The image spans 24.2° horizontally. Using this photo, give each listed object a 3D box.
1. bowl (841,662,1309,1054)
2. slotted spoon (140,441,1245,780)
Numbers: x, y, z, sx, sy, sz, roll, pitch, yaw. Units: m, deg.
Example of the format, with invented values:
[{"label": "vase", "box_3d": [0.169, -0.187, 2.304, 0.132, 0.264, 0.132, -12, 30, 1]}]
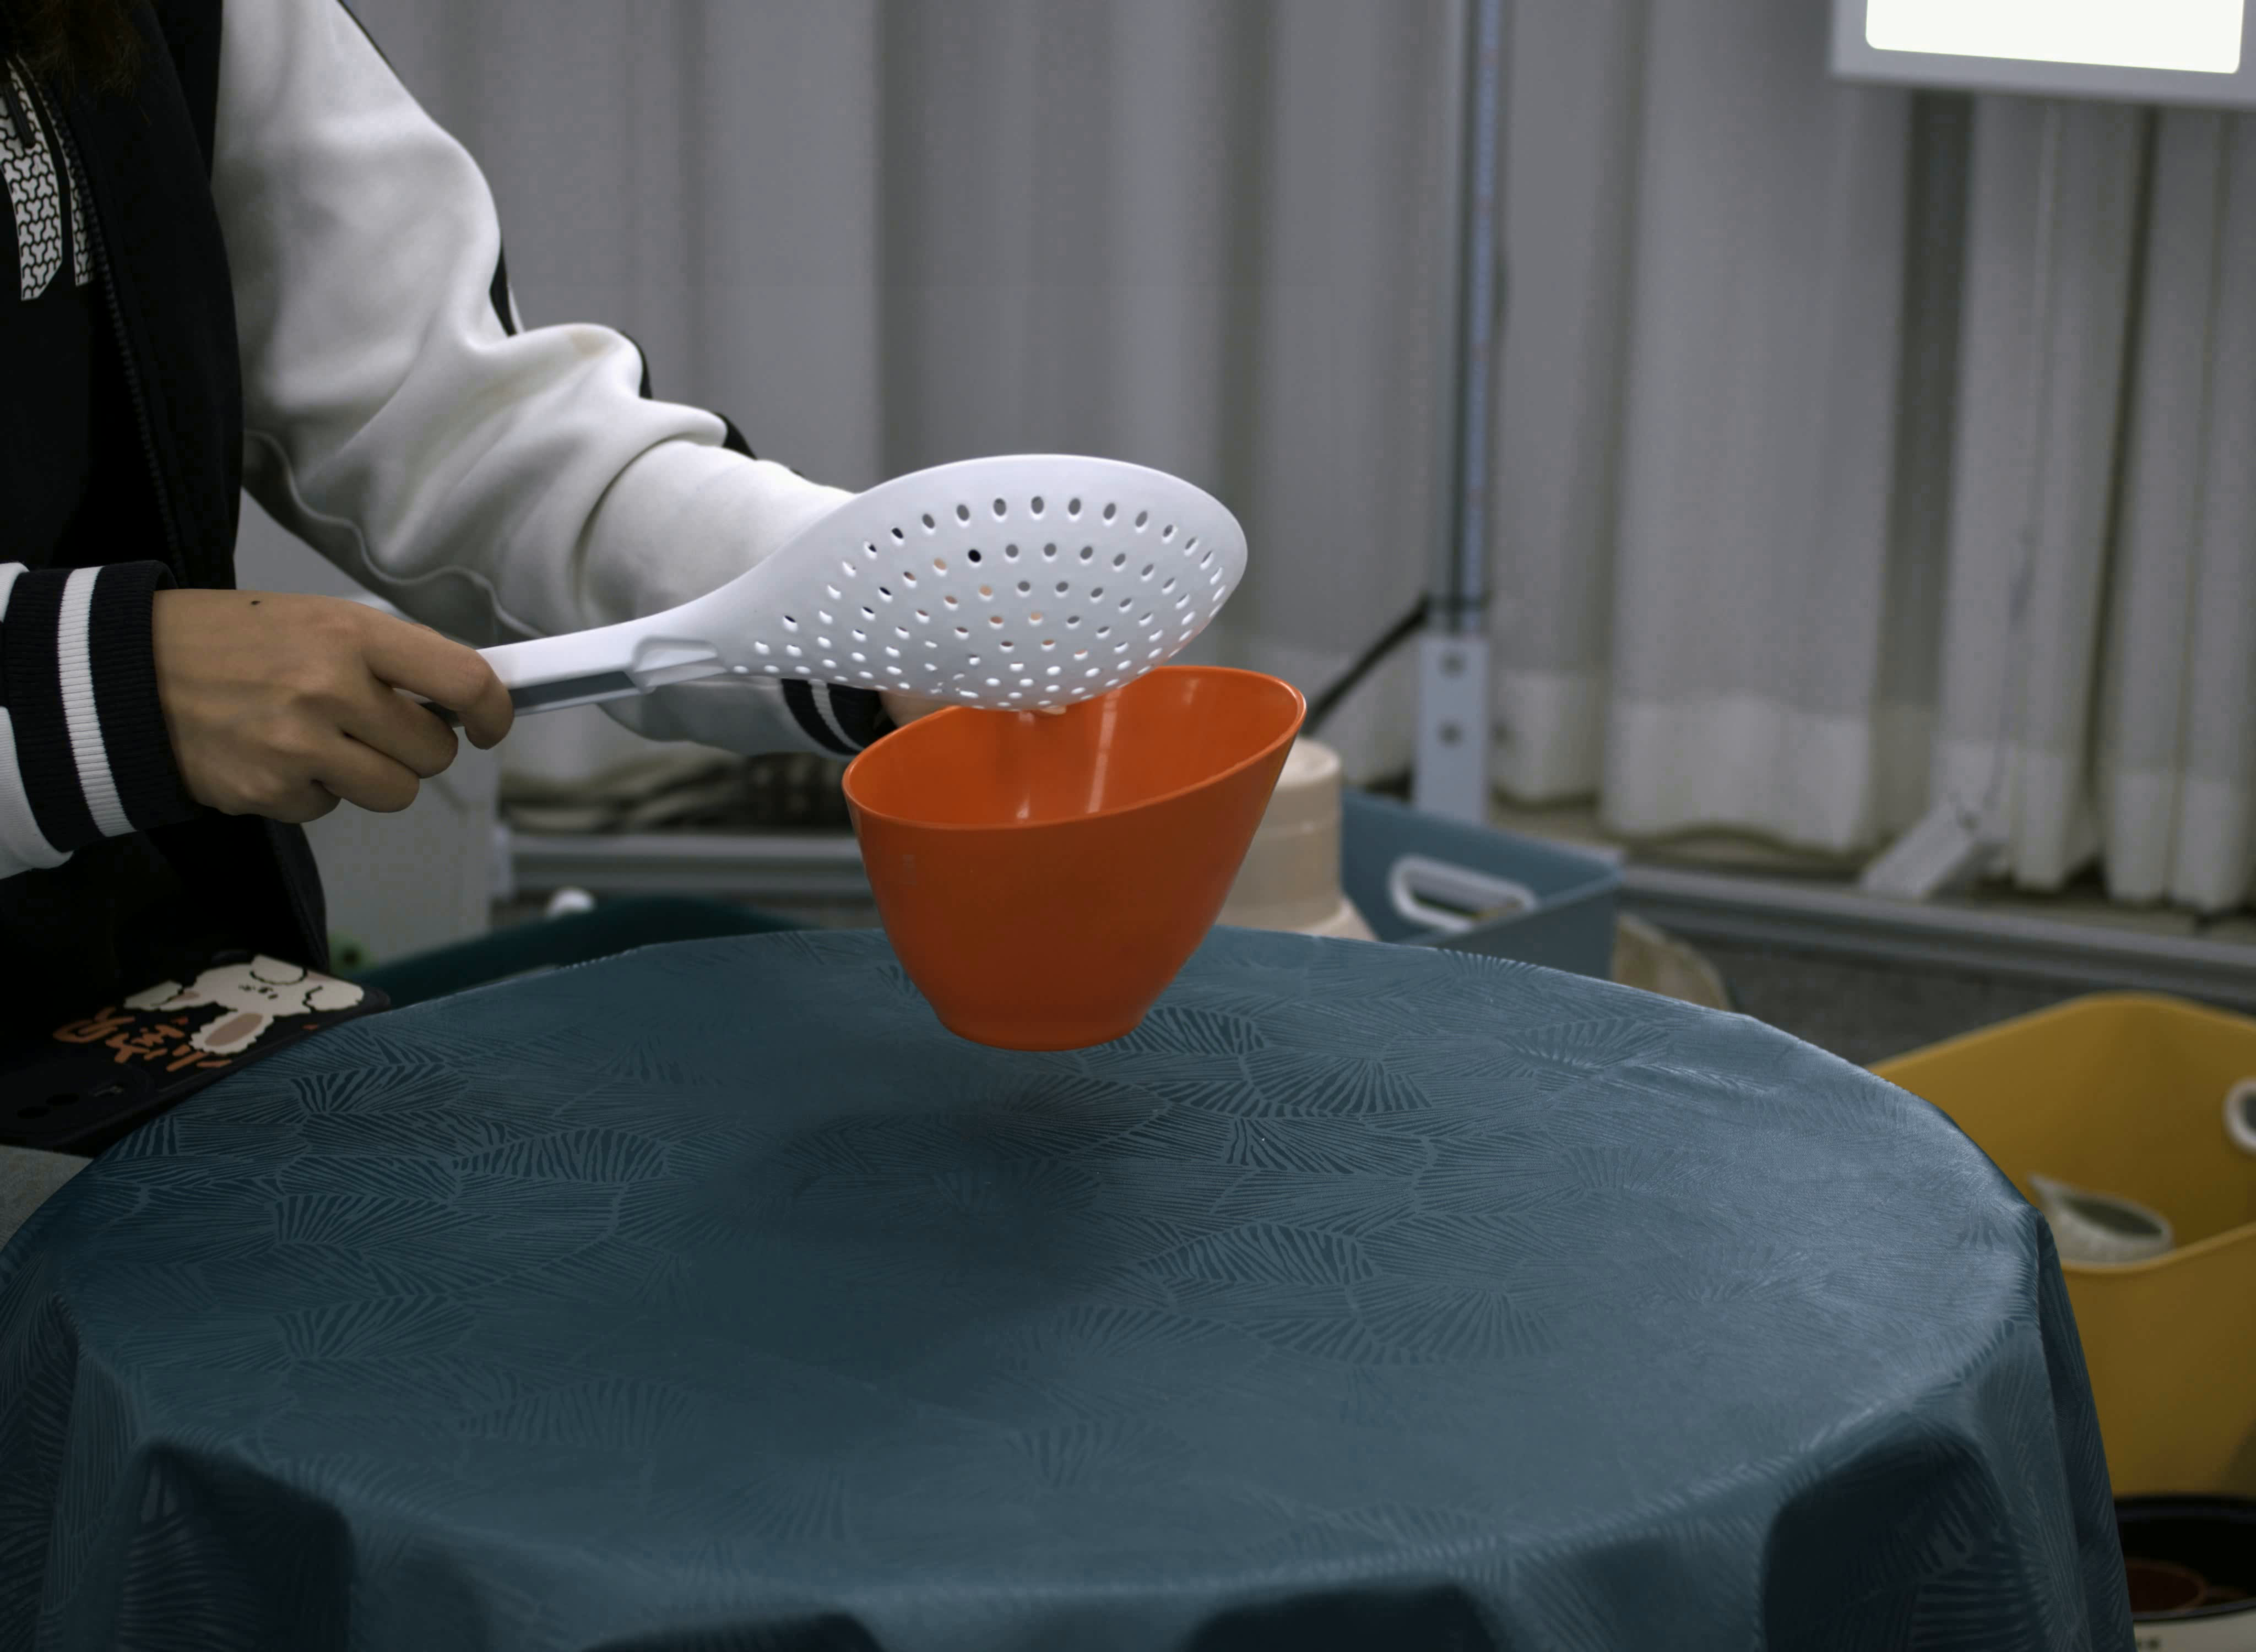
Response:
[{"label": "bowl", "box_3d": [-0.017, 0.013, 1.665, 0.147, 0.105, 0.147, 0, 22, 1]}, {"label": "slotted spoon", "box_3d": [-0.135, -0.055, 1.592, 0.347, 0.045, 0.137, -6, -26, 14]}]
